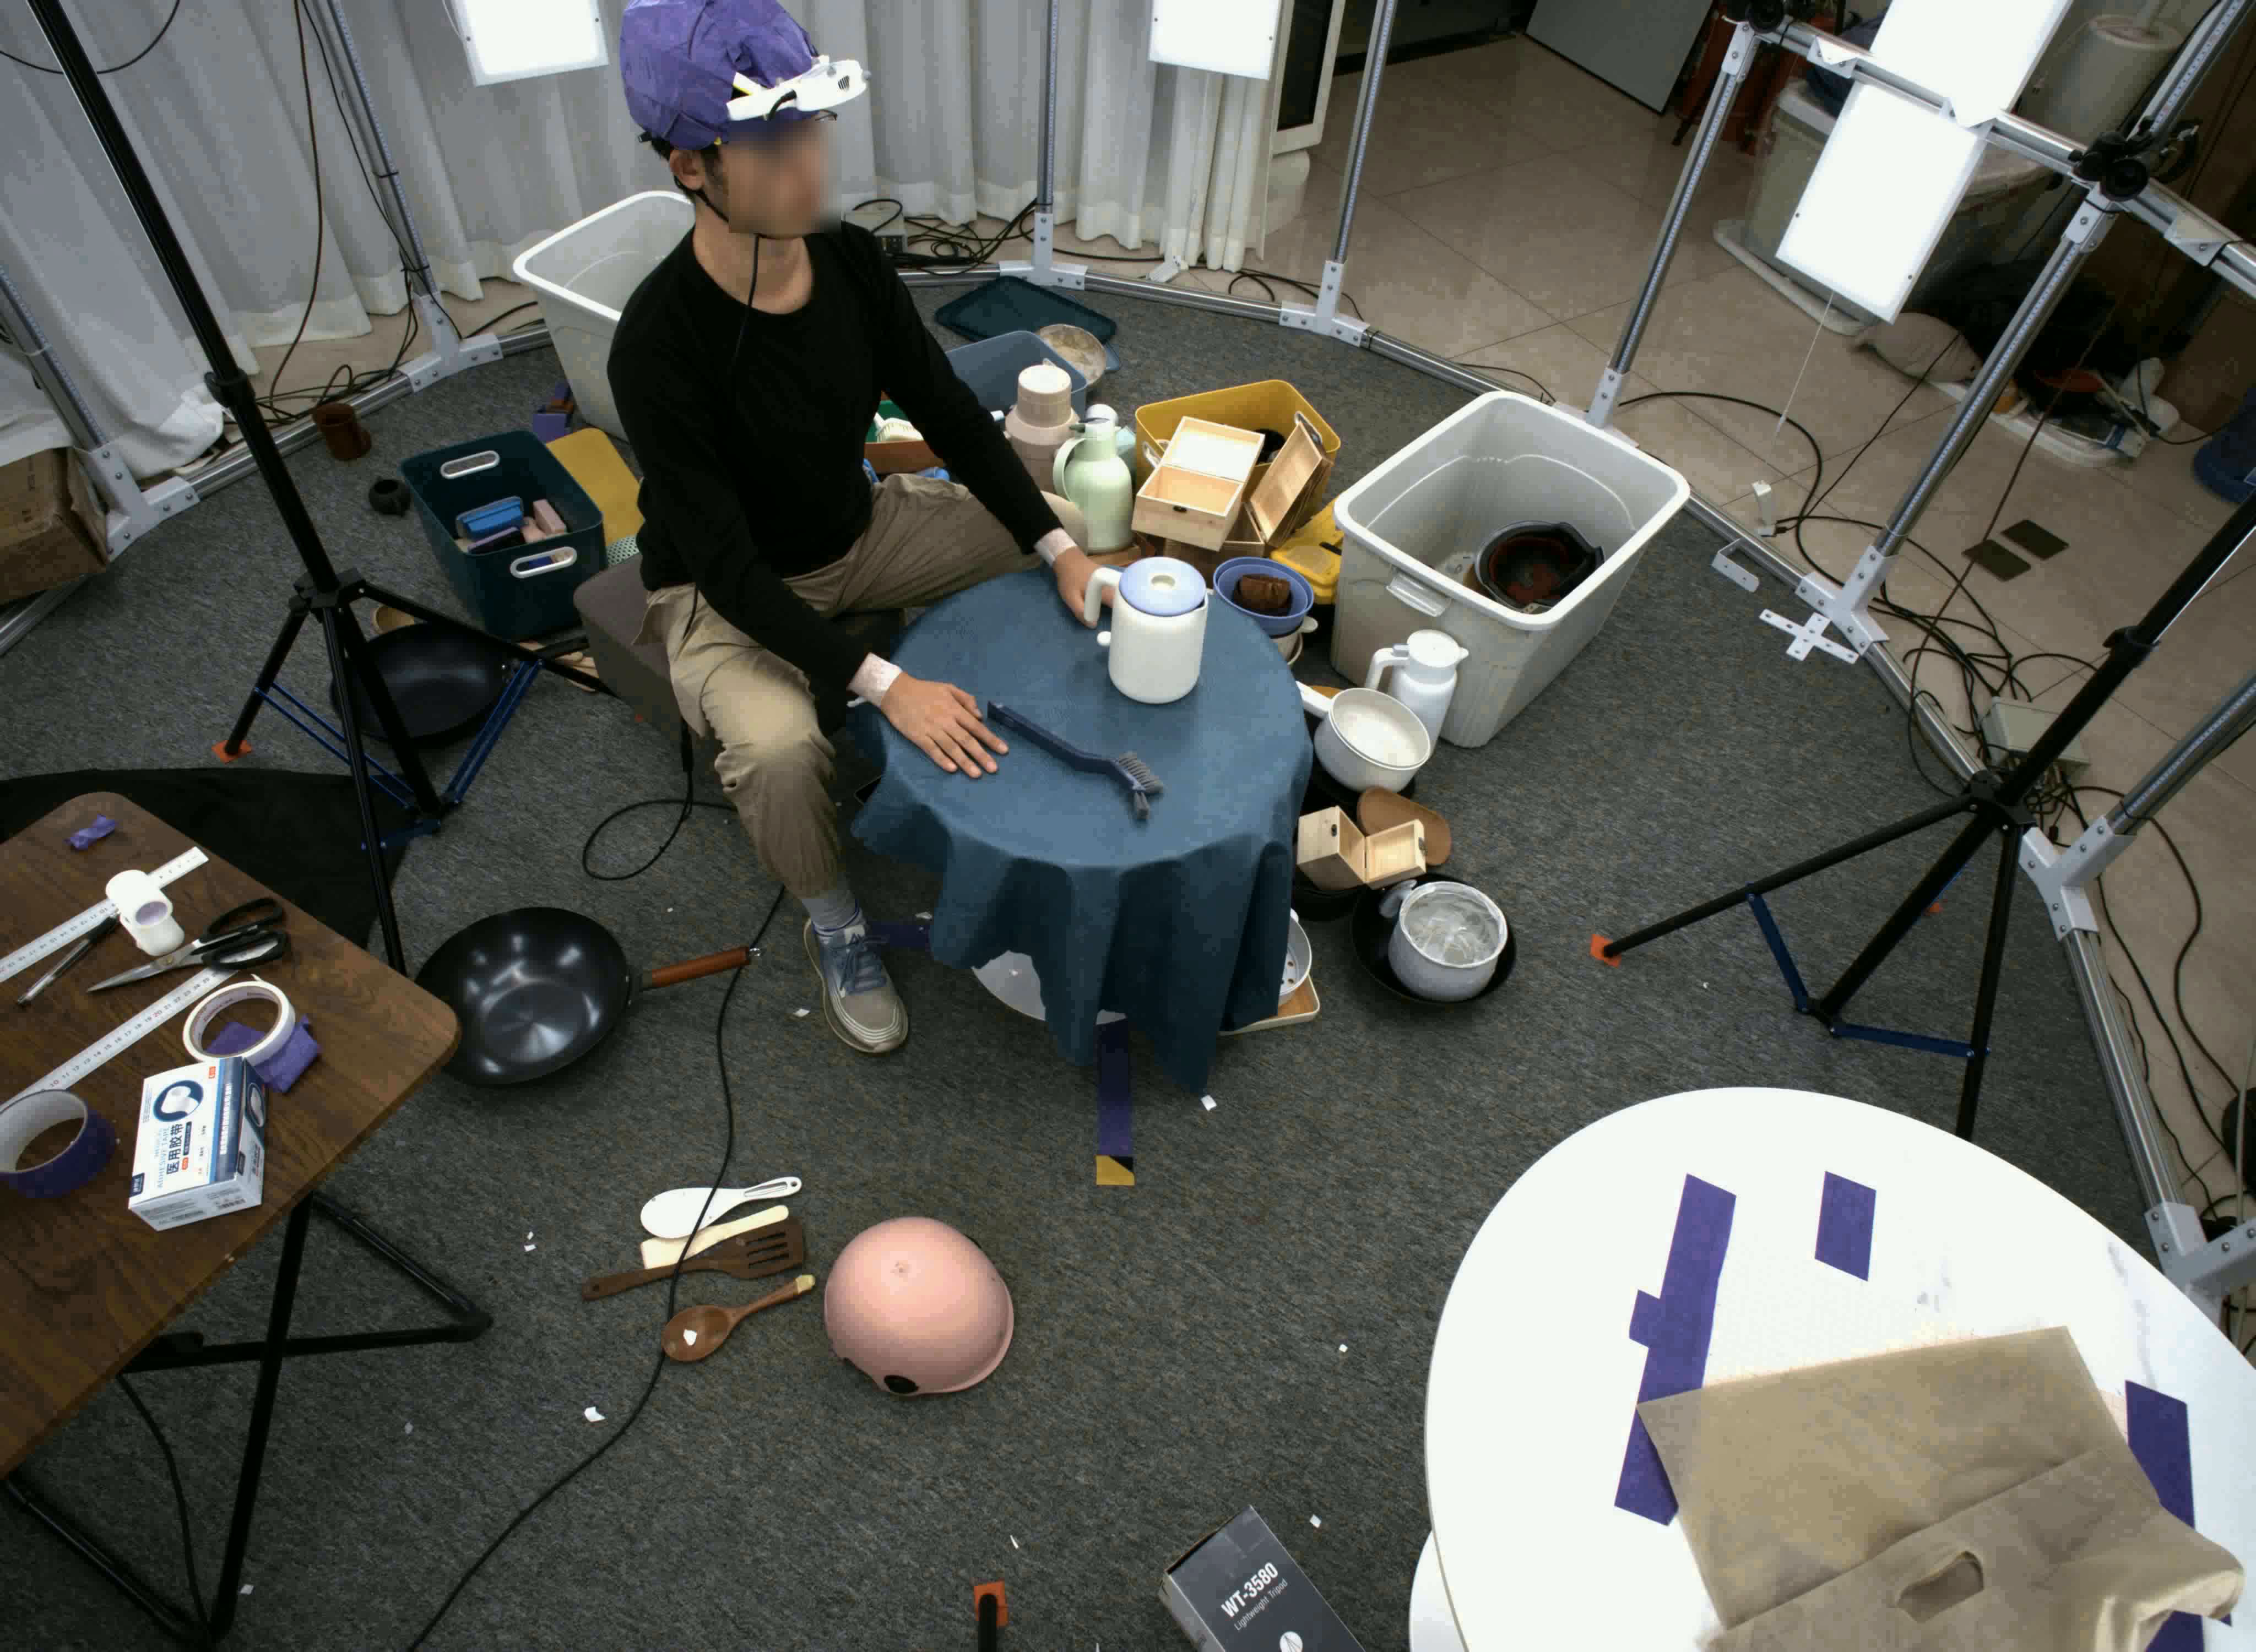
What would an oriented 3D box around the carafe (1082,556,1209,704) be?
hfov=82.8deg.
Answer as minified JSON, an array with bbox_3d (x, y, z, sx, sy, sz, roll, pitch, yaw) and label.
[{"bbox_3d":[0.020,-0.284,1.807,0.192,0.178,0.134,25,52,18],"label":"carafe"}]

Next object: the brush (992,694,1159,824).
[{"bbox_3d":[-0.083,-0.095,1.728,0.275,0.033,0.097,25,55,16],"label":"brush"}]
